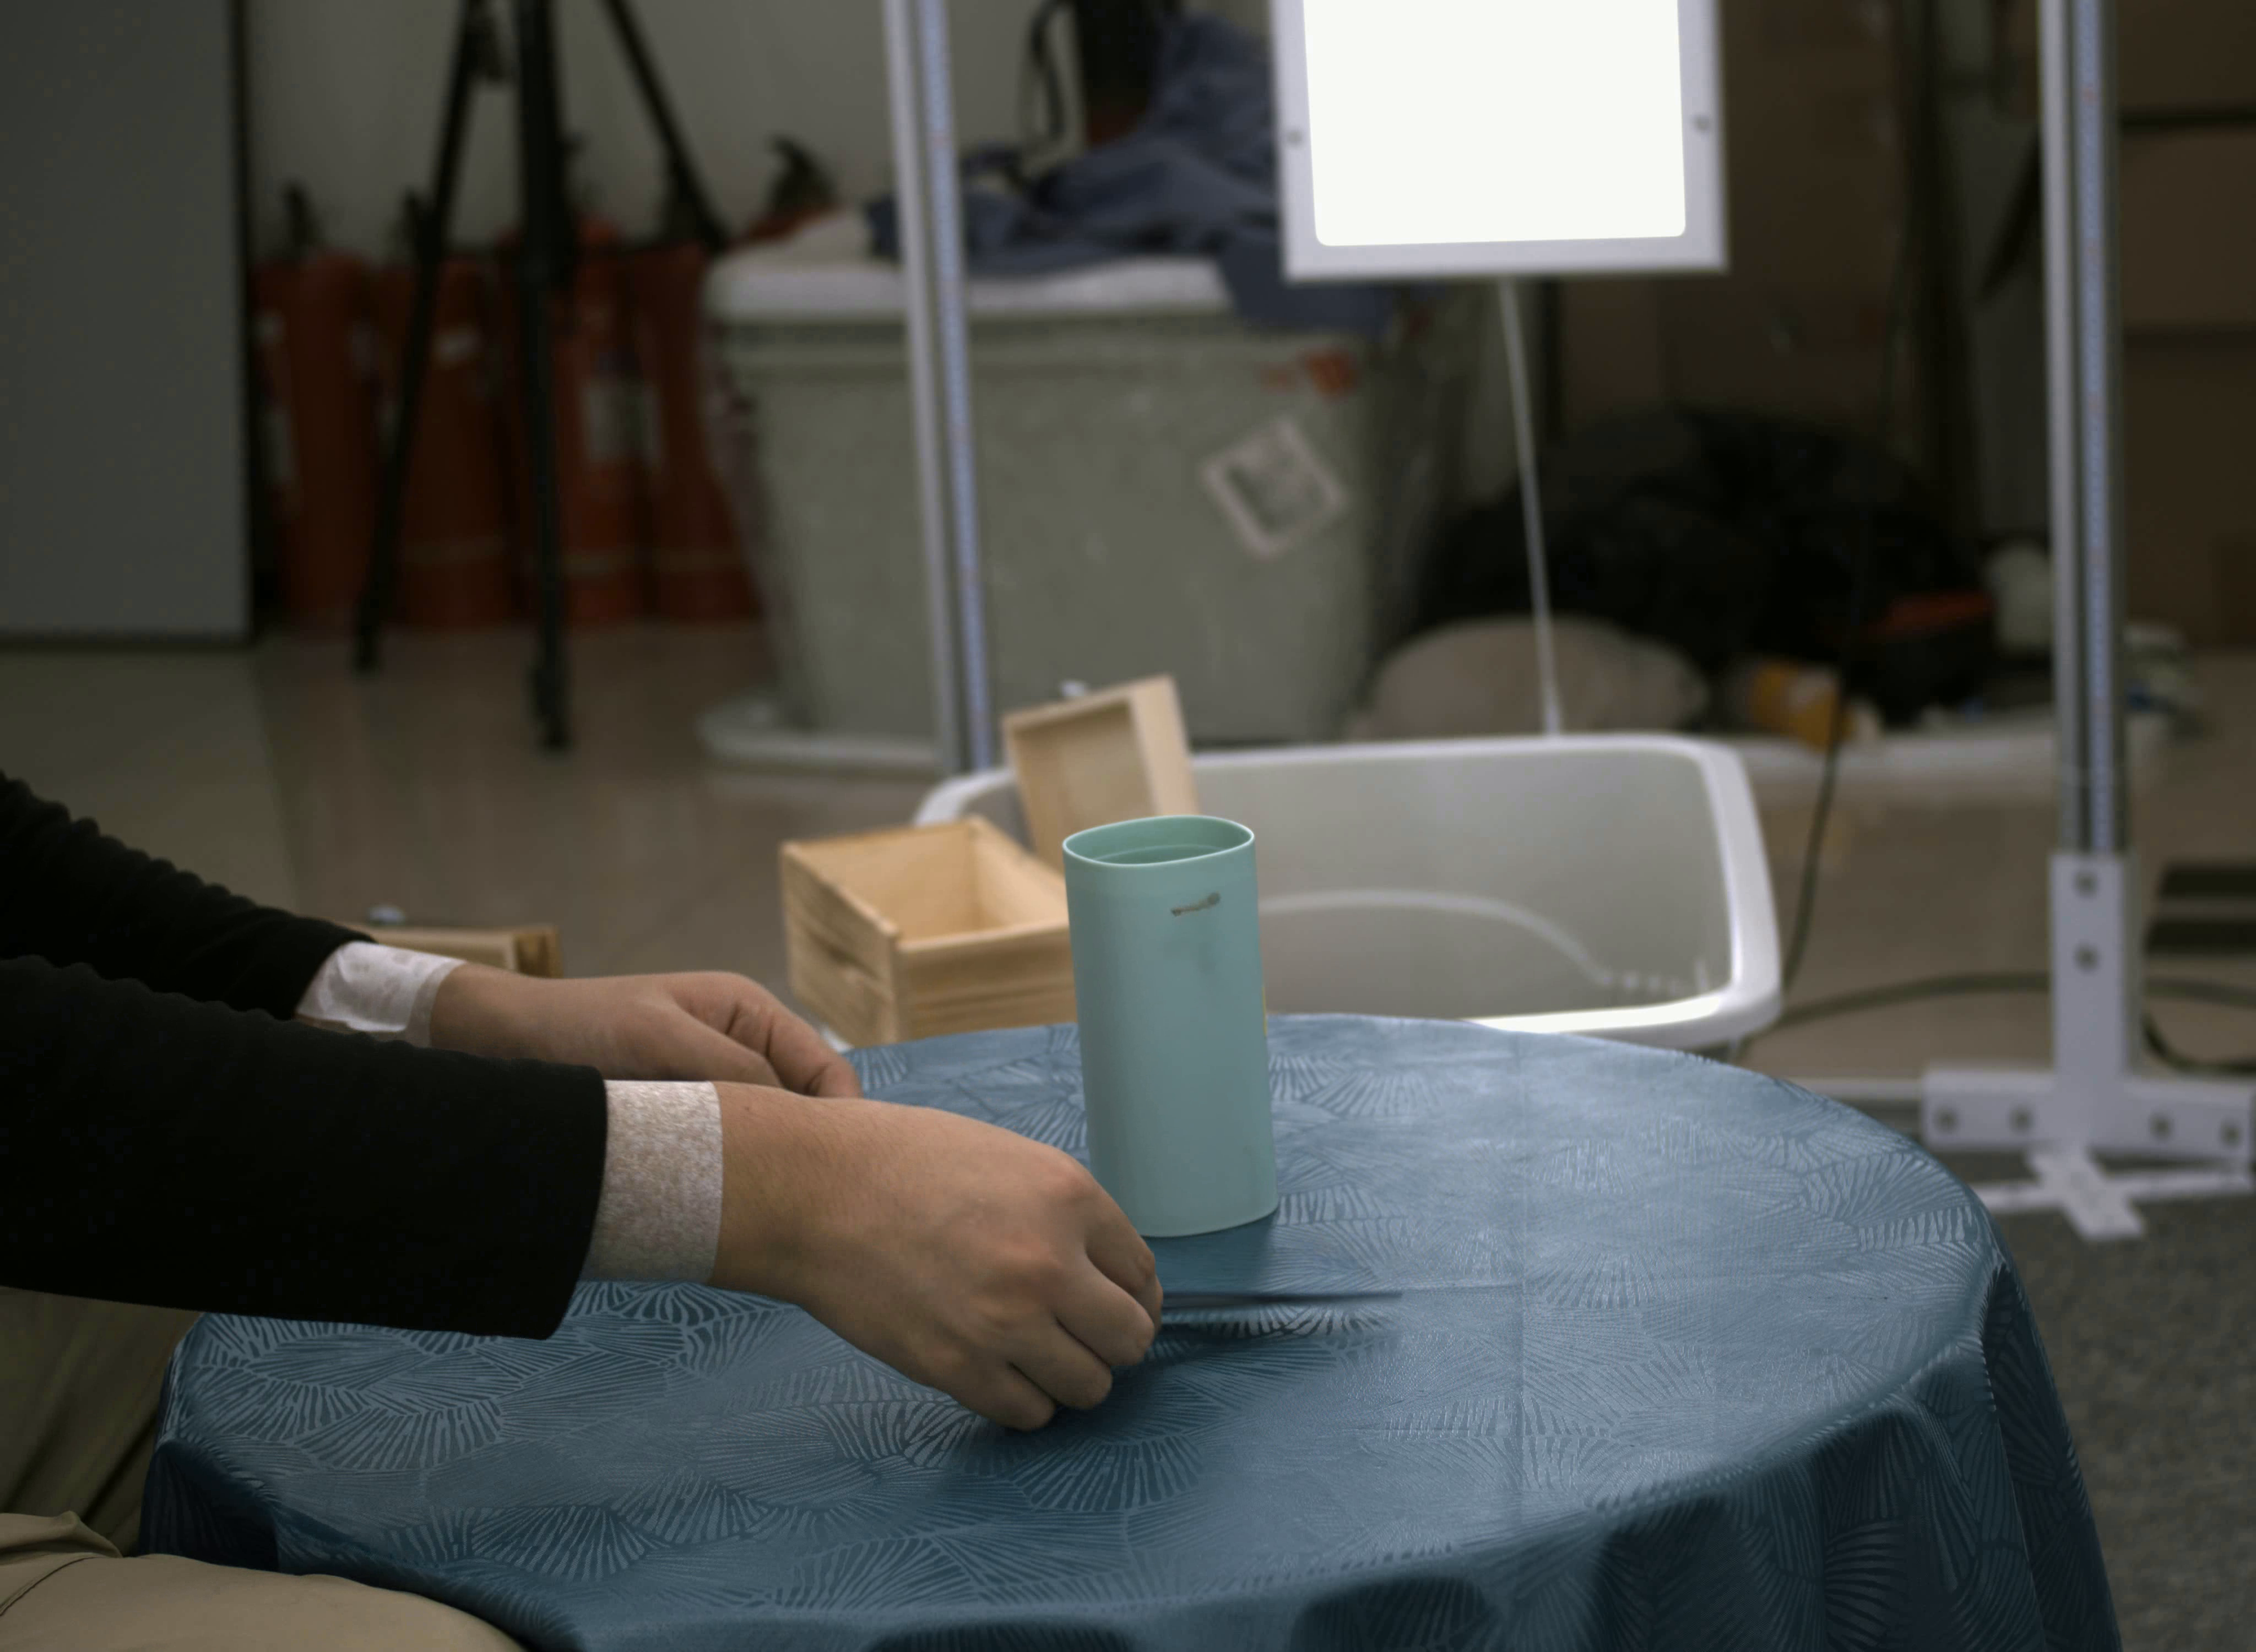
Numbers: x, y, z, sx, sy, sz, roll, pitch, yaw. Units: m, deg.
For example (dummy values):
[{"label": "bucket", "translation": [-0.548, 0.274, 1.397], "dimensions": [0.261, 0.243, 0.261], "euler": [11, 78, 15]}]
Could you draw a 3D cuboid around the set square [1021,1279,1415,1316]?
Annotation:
[{"label": "set square", "translation": [0.022, 0.144, 1.722], "dimensions": [0.133, 0.006, 0.060], "euler": [-5, -13, 17]}]

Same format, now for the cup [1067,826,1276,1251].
[{"label": "cup", "translation": [0.014, 0.071, 1.860], "dimensions": [0.066, 0.133, 0.066], "euler": [-4, 14, 0]}]
